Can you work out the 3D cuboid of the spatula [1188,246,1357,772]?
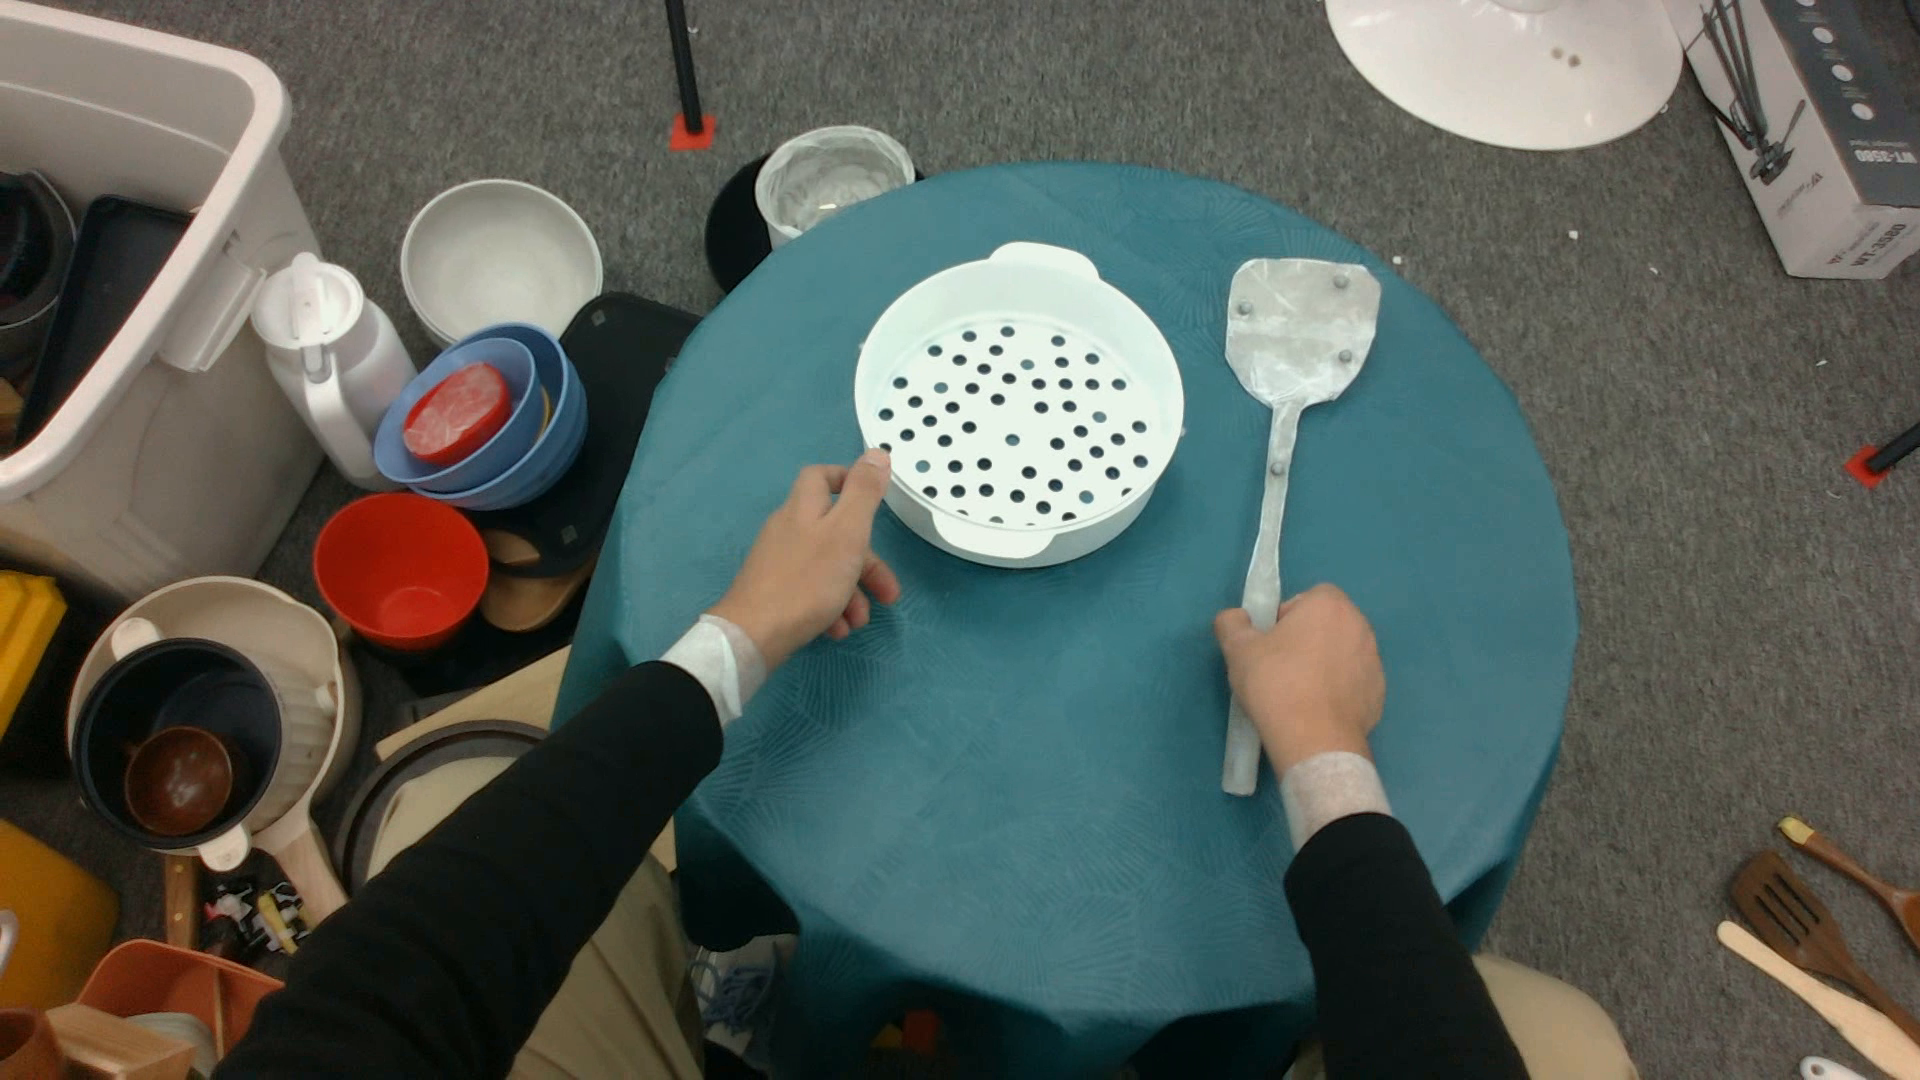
[{"bbox_3d":[0.181,-0.031,0.859,0.098,0.044,0.366,8,61,12],"label":"spatula"}]

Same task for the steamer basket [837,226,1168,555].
[{"bbox_3d":[0.026,-0.087,0.863,0.202,0.069,0.231,11,64,3],"label":"steamer basket"}]
